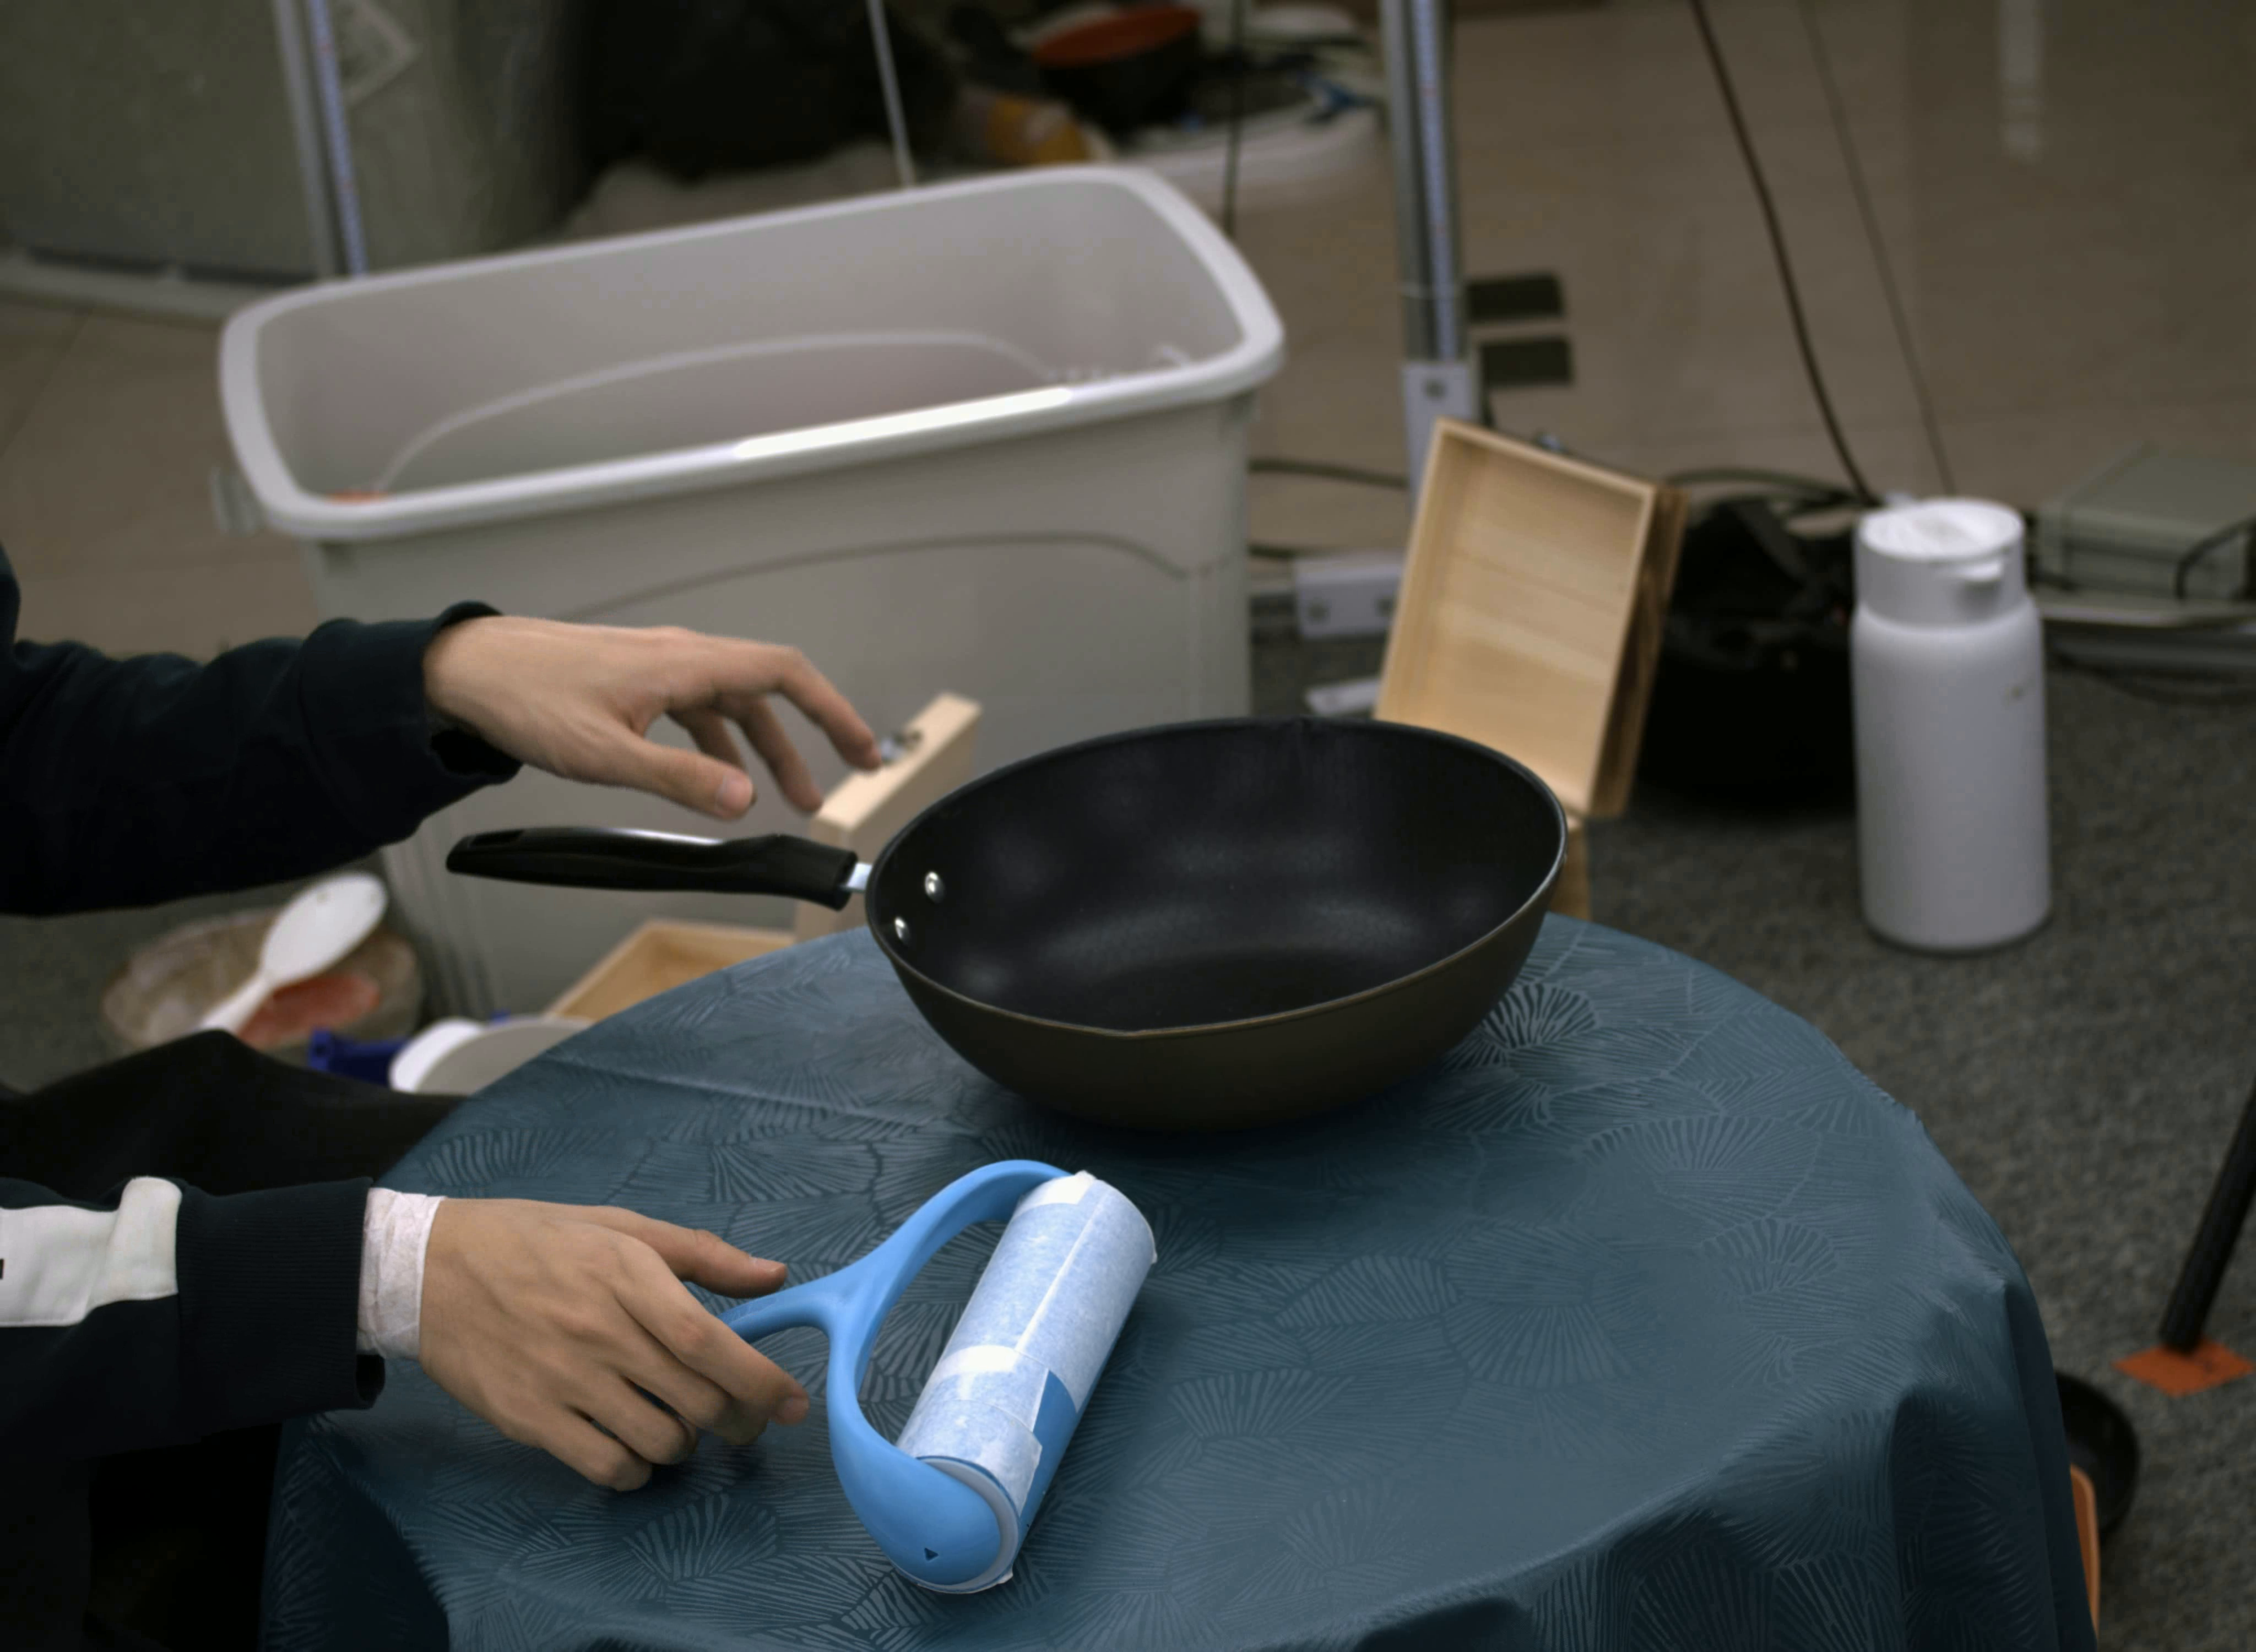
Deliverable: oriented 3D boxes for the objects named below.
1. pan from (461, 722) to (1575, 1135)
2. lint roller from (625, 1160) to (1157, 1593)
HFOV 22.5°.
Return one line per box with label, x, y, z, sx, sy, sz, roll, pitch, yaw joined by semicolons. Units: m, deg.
pan;-0.048;0.048;2.254;0.462;0.088;0.284;1;25;17
lint roller;-0.094;0.191;1.989;0.180;0.069;0.225;0;28;11
